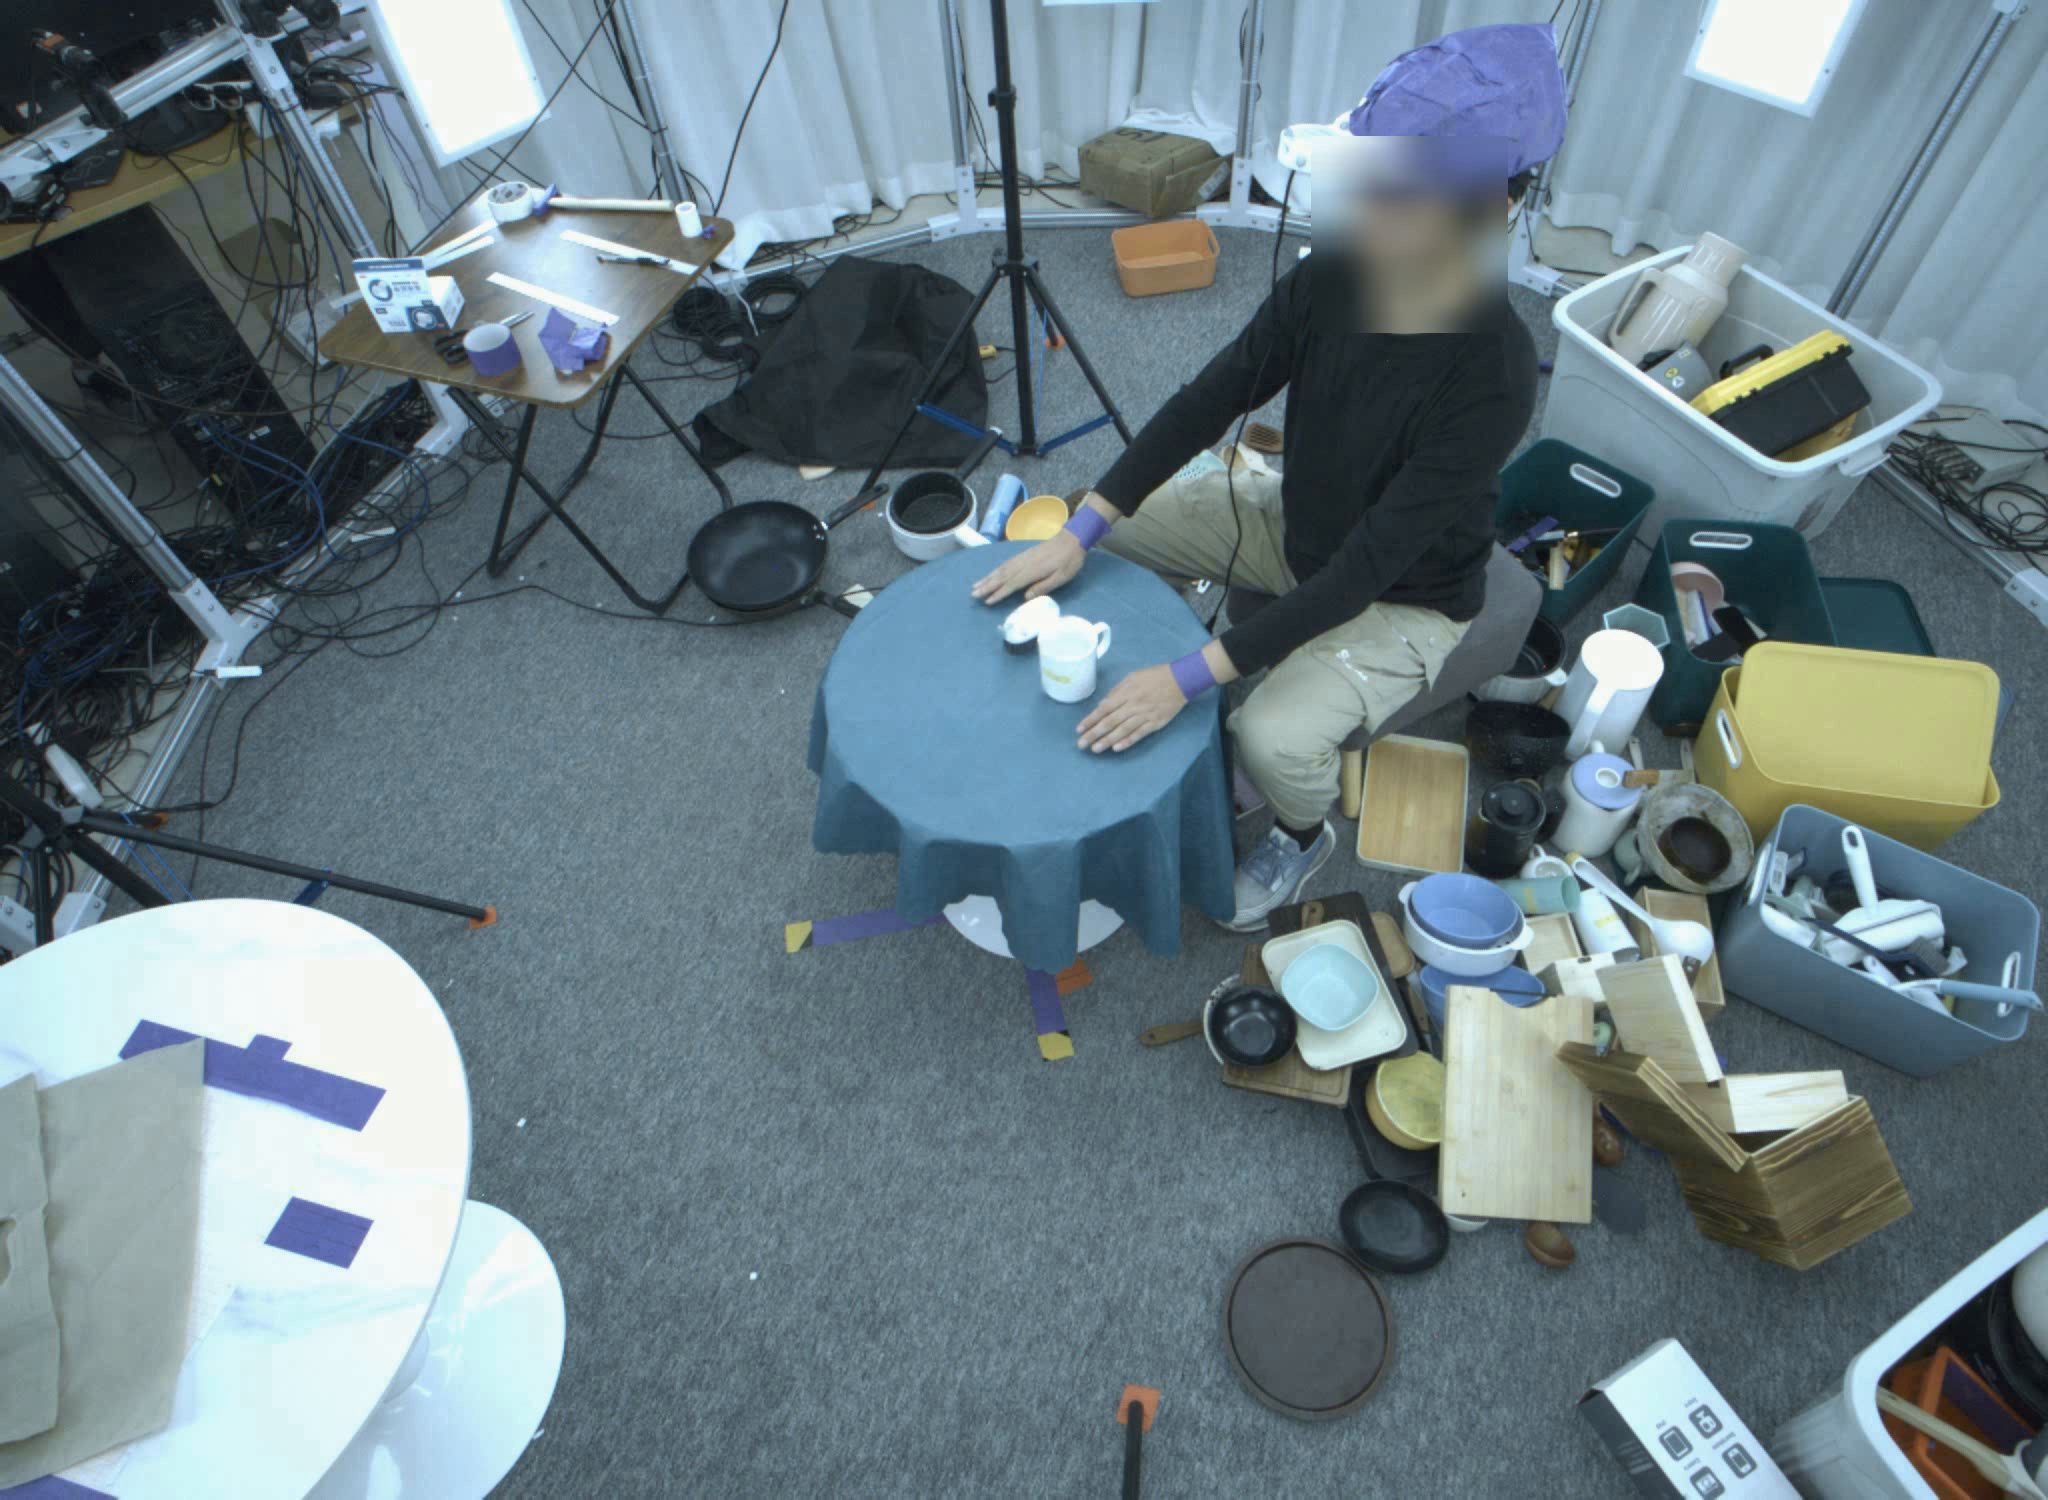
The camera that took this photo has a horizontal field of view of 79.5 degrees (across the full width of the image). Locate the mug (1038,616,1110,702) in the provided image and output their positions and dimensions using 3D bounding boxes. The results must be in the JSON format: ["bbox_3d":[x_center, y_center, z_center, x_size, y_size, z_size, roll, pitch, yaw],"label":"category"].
[{"bbox_3d":[0.079,-0.141,1.823,0.119,0.103,0.083,-35,59,-20],"label":"mug"}]

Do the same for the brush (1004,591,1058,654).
[{"bbox_3d":[0.009,-0.203,1.887,0.049,0.073,0.100,40,70,21],"label":"brush"}]
